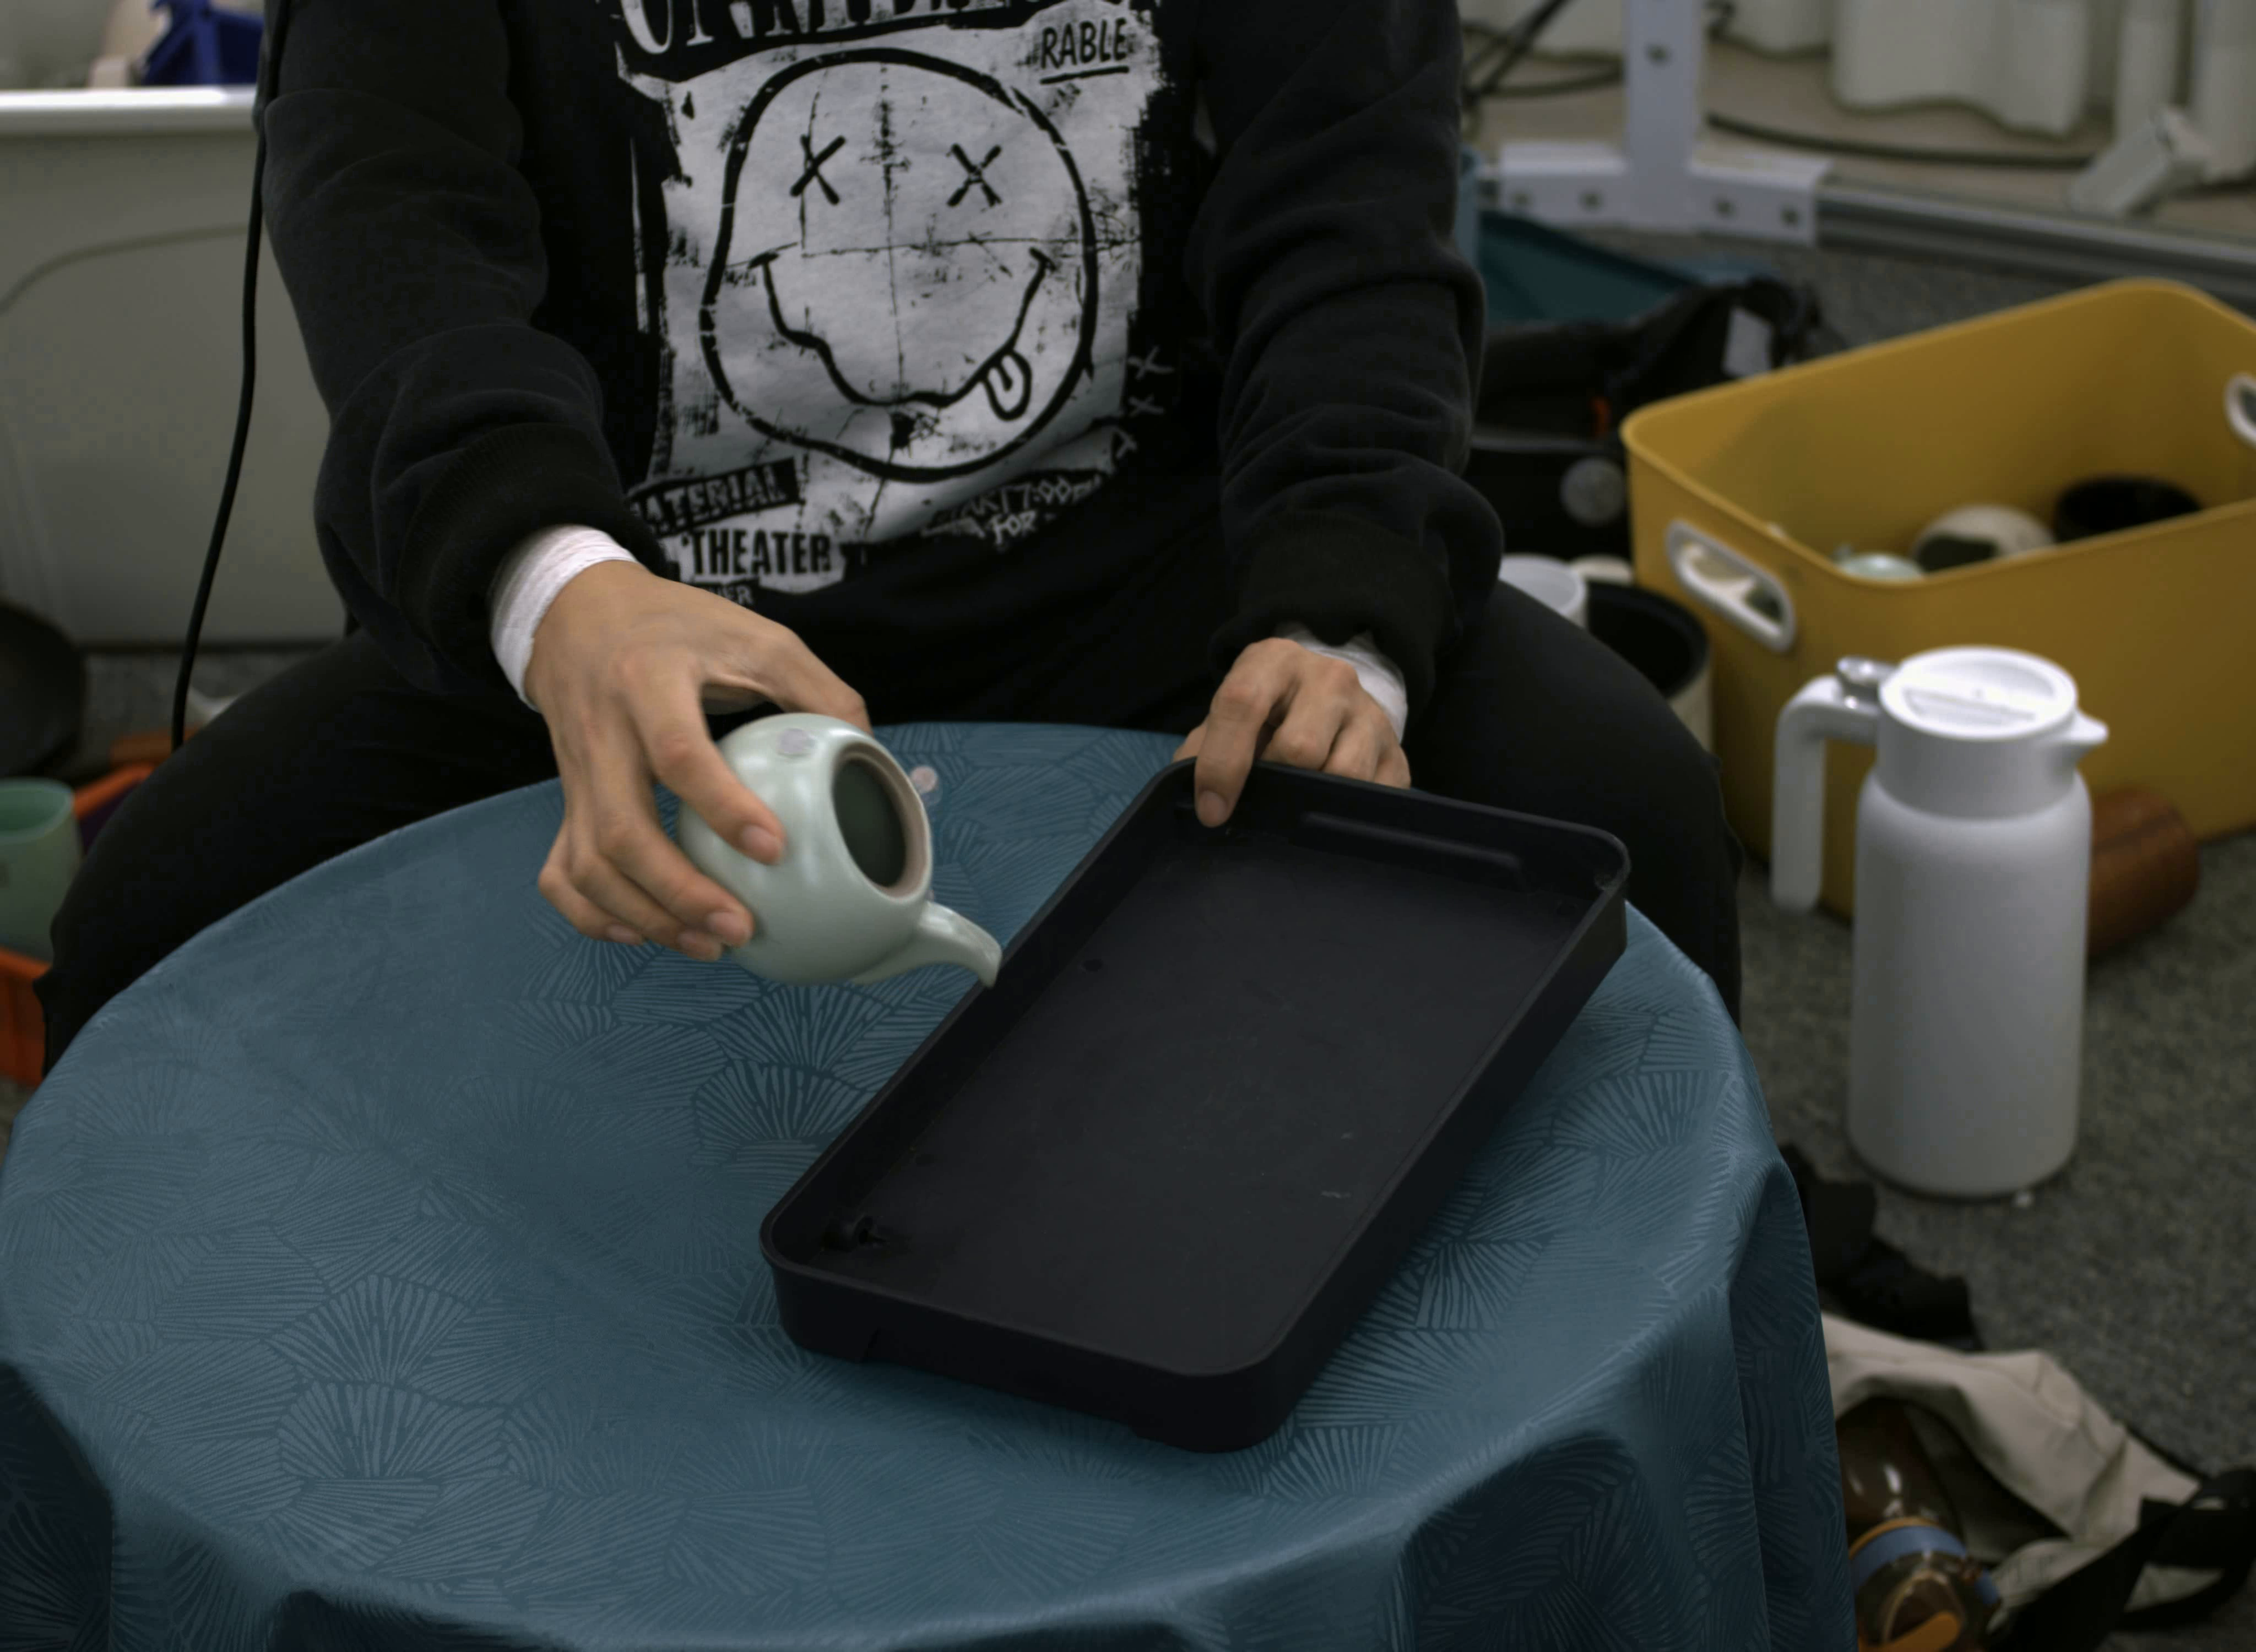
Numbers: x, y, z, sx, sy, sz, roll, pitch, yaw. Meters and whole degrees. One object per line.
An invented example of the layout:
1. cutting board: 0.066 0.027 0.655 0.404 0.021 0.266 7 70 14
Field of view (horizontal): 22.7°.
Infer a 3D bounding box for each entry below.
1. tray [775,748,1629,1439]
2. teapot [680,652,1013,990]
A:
1. tray: 0.031 0.081 1.861 0.183 0.036 0.324 10 36 24
2. teapot: -0.101 0.008 1.799 0.074 0.143 0.090 -22 26 26
